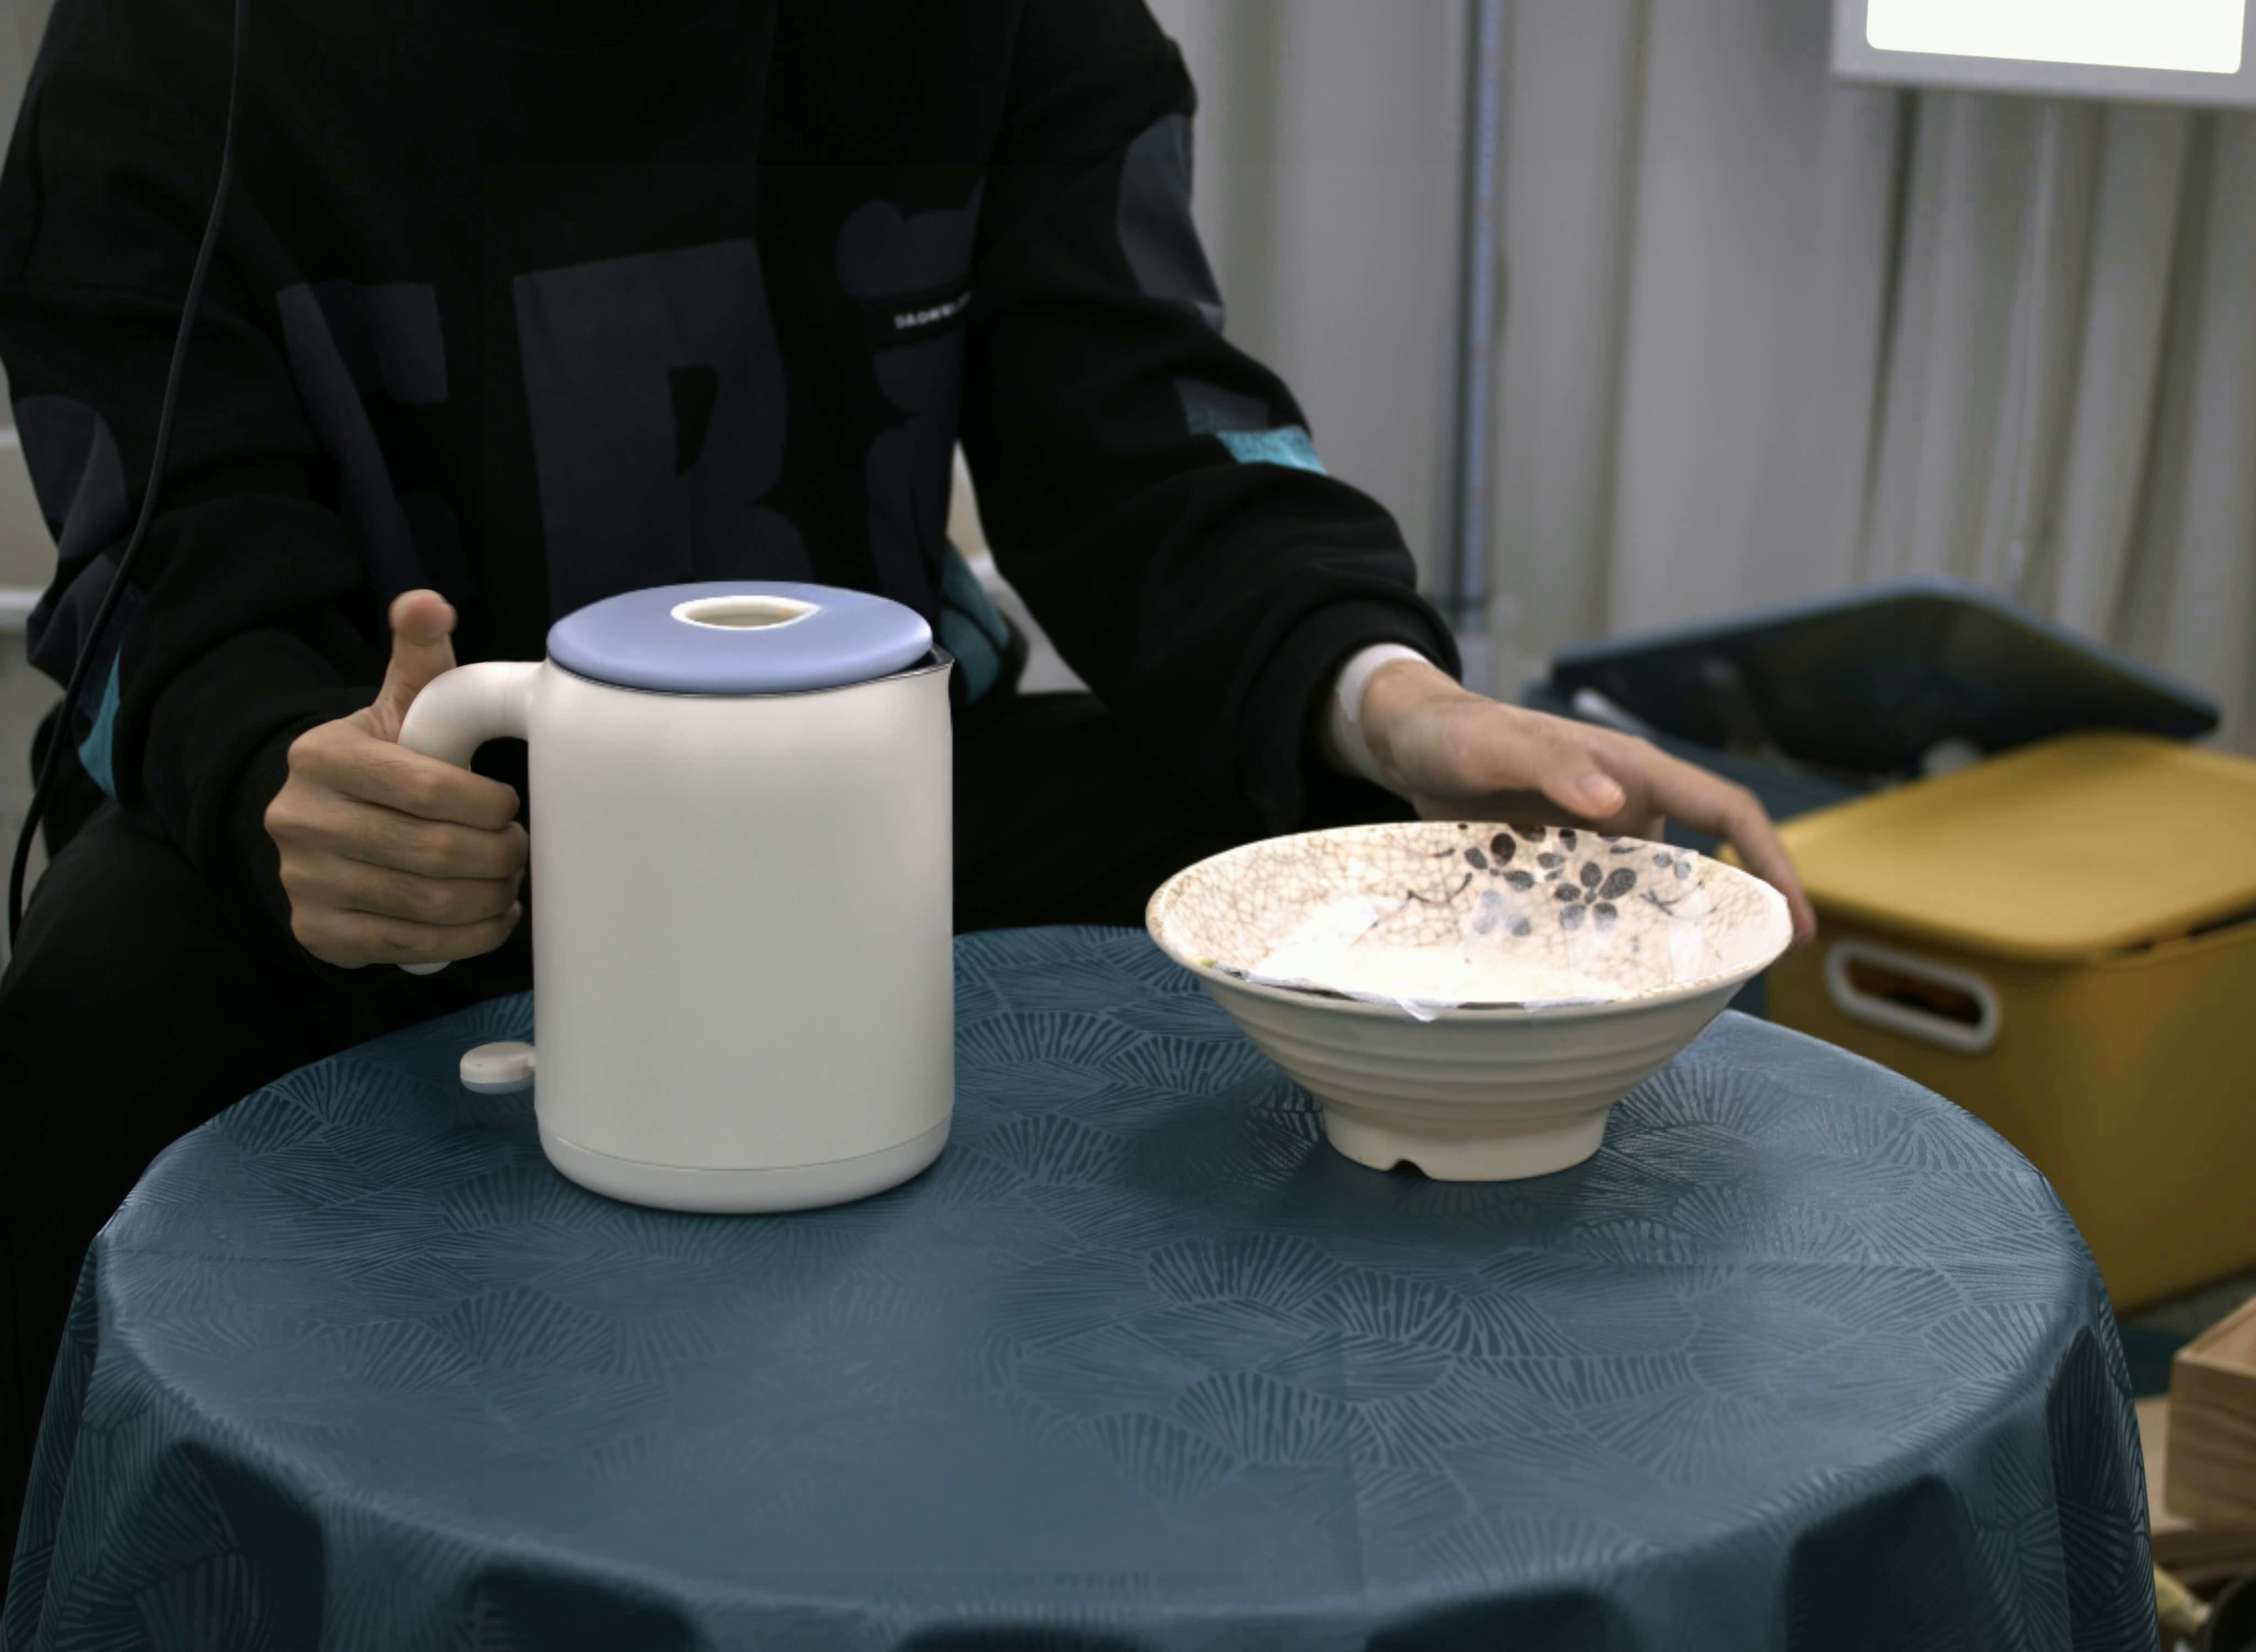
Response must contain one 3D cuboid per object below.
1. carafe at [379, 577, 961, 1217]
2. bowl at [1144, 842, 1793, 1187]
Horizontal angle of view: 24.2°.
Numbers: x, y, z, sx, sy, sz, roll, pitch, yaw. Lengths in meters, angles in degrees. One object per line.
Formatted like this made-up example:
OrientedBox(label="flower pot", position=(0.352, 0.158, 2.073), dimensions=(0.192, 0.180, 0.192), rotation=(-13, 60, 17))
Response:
OrientedBox(label="carafe", position=(-0.142, 0.020, 1.630), dimensions=(0.189, 0.184, 0.132), rotation=(2, 15, 14))
OrientedBox(label="bowl", position=(0.106, 0.064, 1.656), dimensions=(0.203, 0.078, 0.203), rotation=(0, 13, 0))
